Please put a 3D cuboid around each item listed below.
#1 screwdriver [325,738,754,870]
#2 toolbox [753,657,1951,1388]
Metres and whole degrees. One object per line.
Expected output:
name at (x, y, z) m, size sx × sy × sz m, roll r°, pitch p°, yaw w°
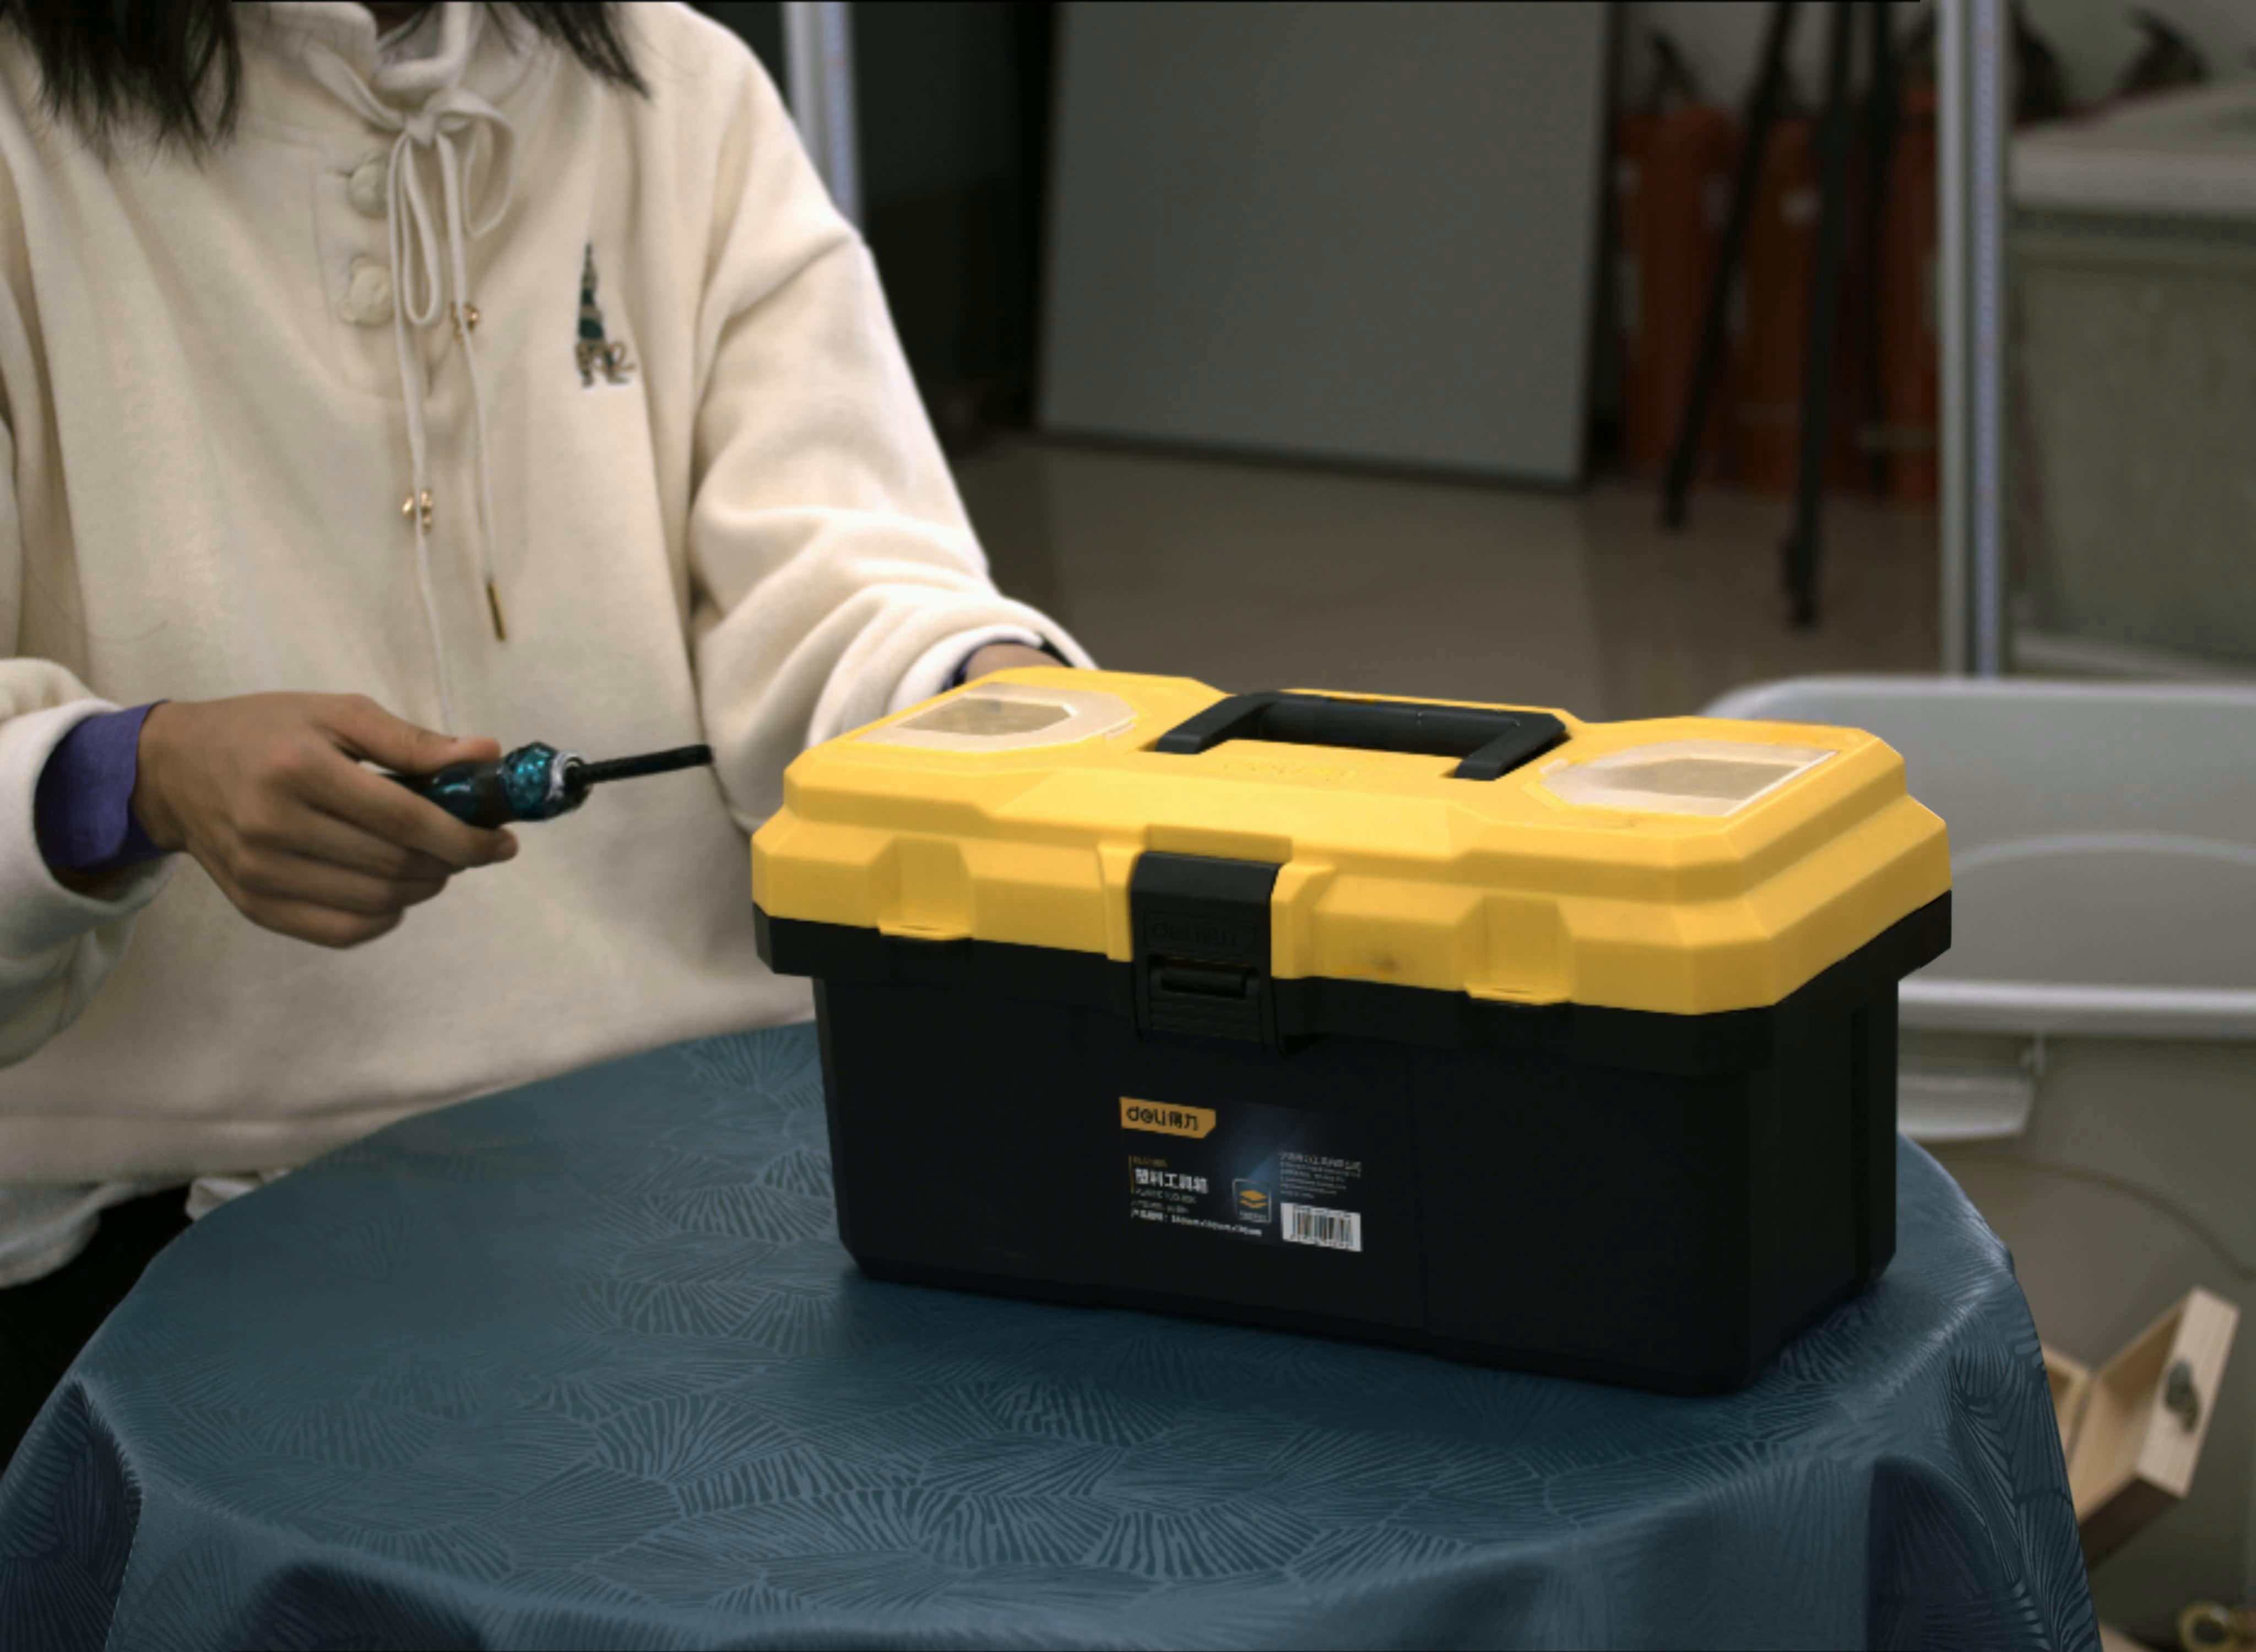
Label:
screwdriver at (-0.189, -0.012, 1.748) m, size 0.191 × 0.034 × 0.033 m, roll -11°, pitch 6°, yaw 40°
toolbox at (0.066, 0.055, 1.653) m, size 0.353 × 0.175 × 0.178 m, roll 5°, pitch 16°, yaw 32°
